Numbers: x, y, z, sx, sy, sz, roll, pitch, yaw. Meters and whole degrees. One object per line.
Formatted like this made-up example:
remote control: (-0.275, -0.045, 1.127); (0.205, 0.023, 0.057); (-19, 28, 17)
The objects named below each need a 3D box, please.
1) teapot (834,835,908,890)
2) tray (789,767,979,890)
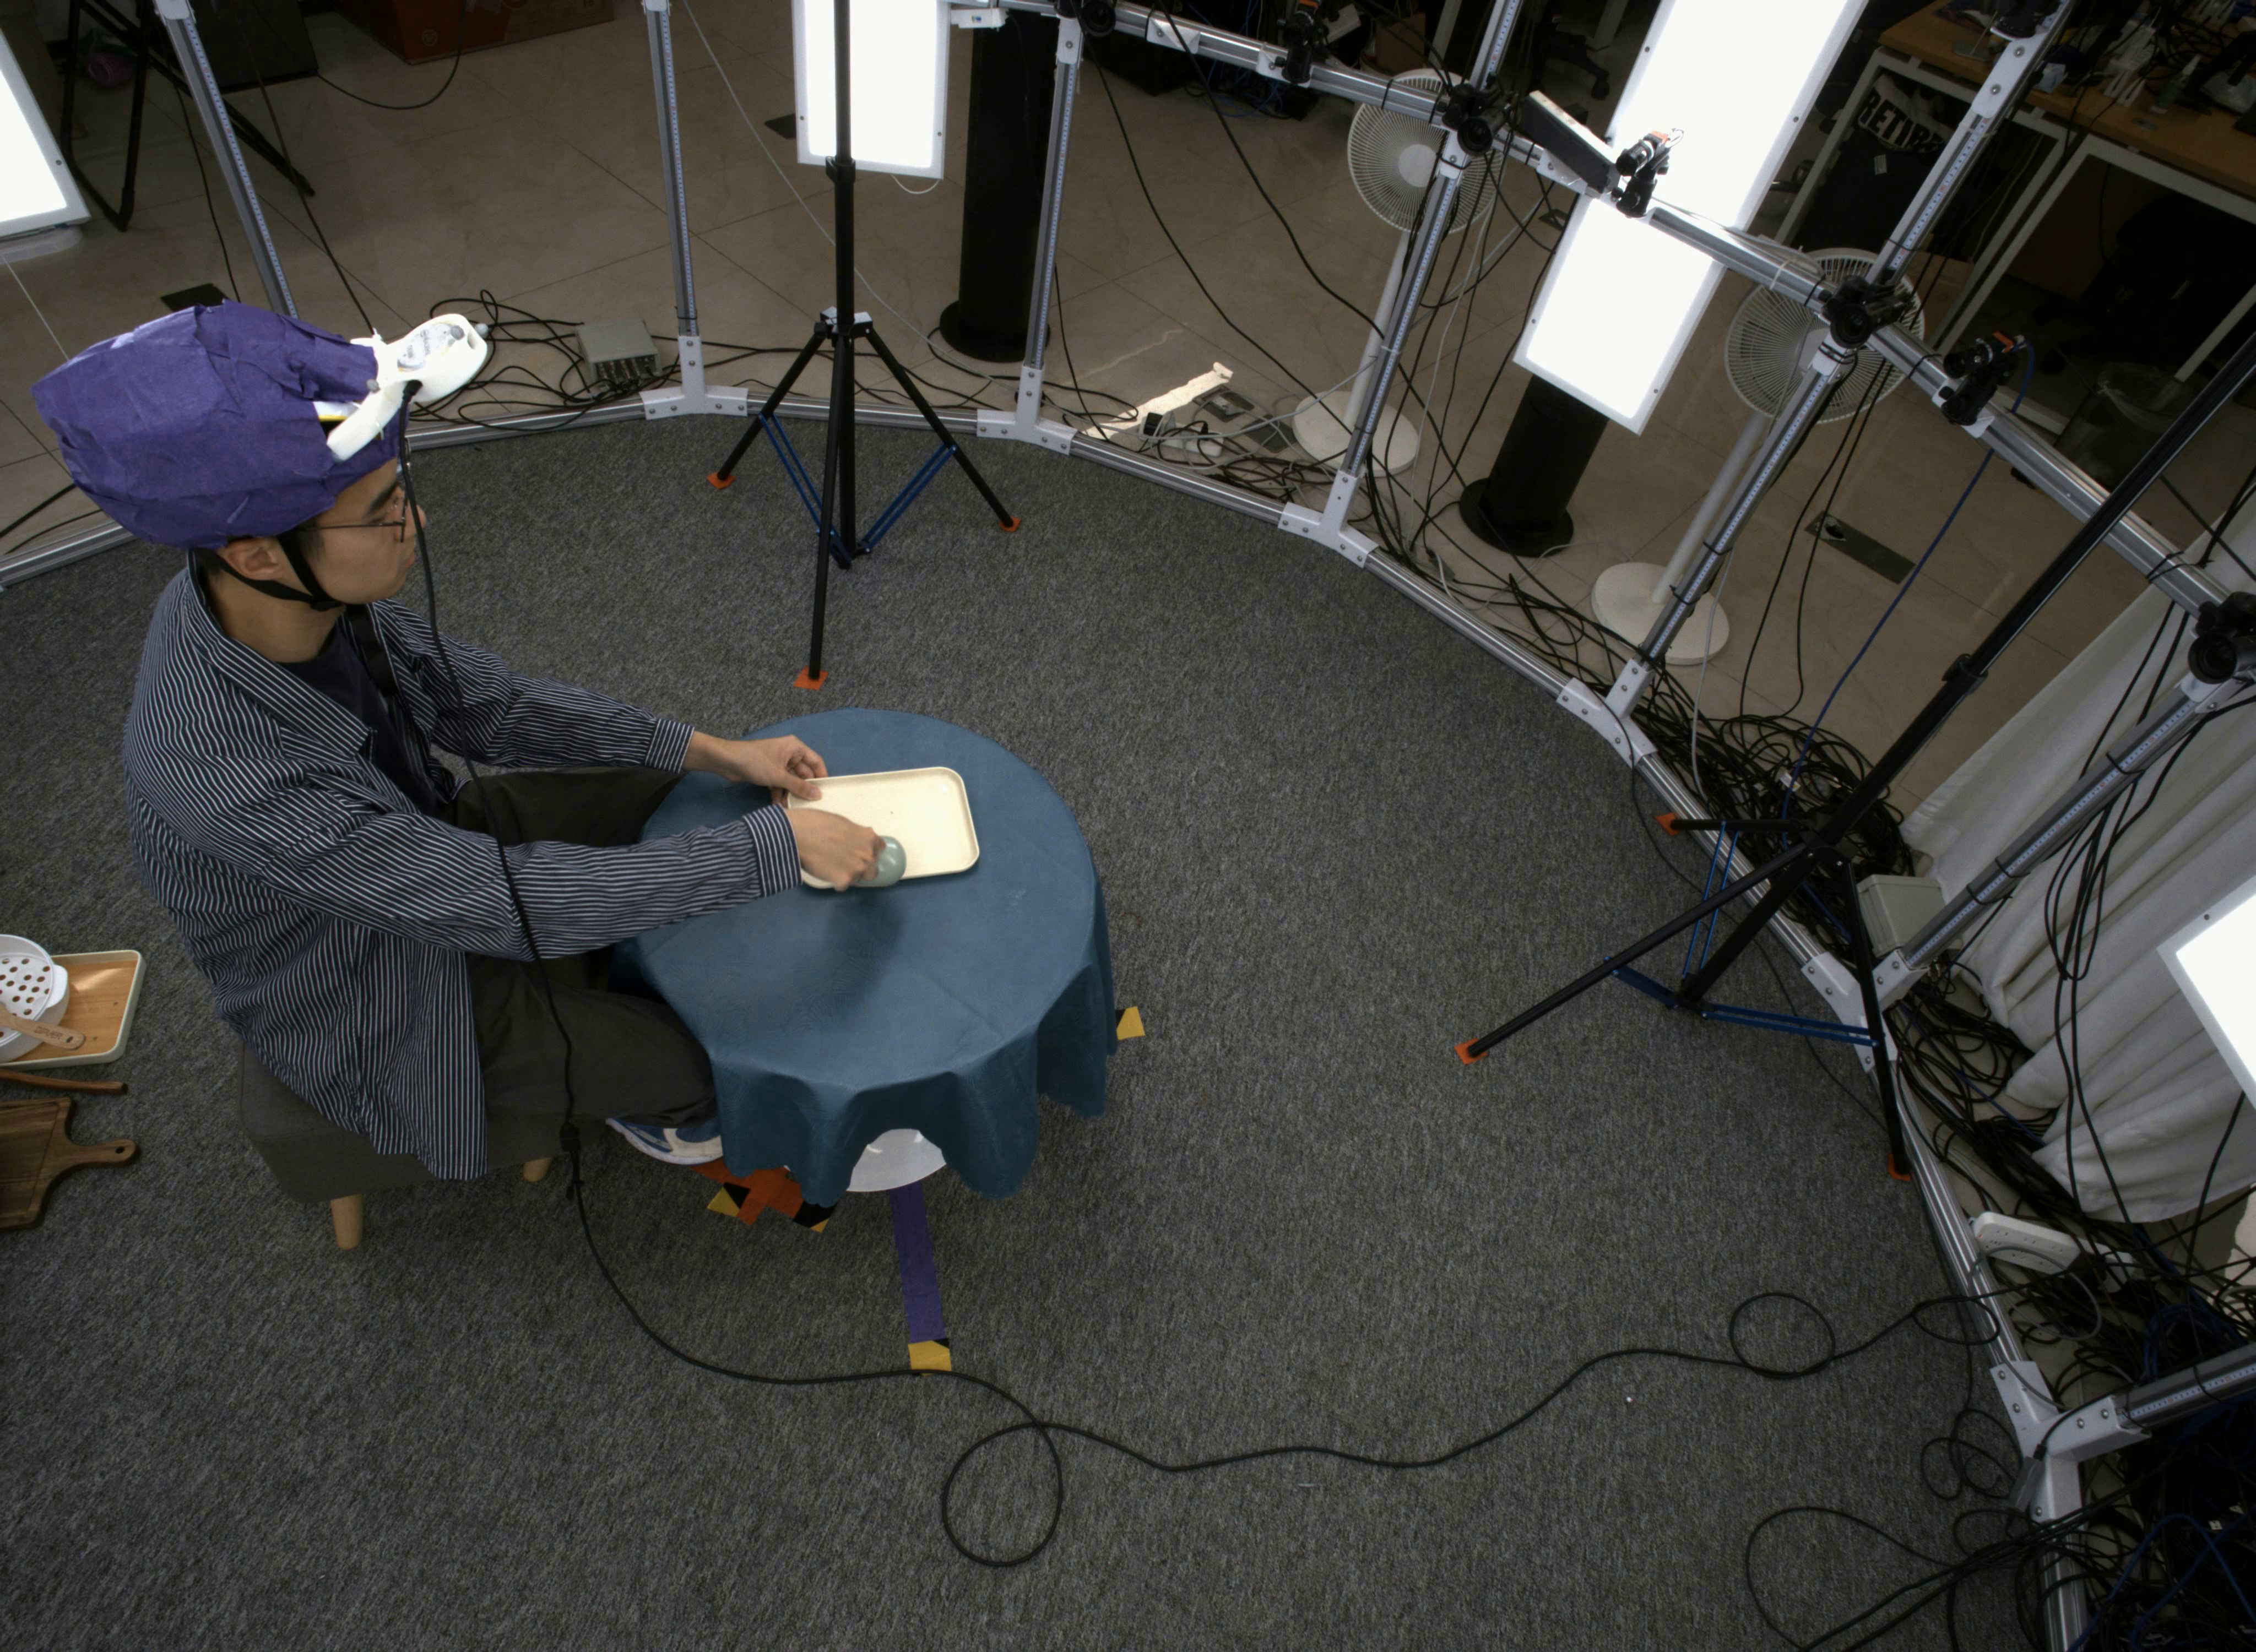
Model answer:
teapot: (-0.322, 0.044, 1.621); (0.090, 0.129, 0.061); (0, 83, -1)
tray: (-0.327, 0.002, 1.744); (0.240, 0.018, 0.168); (-7, 59, -19)
